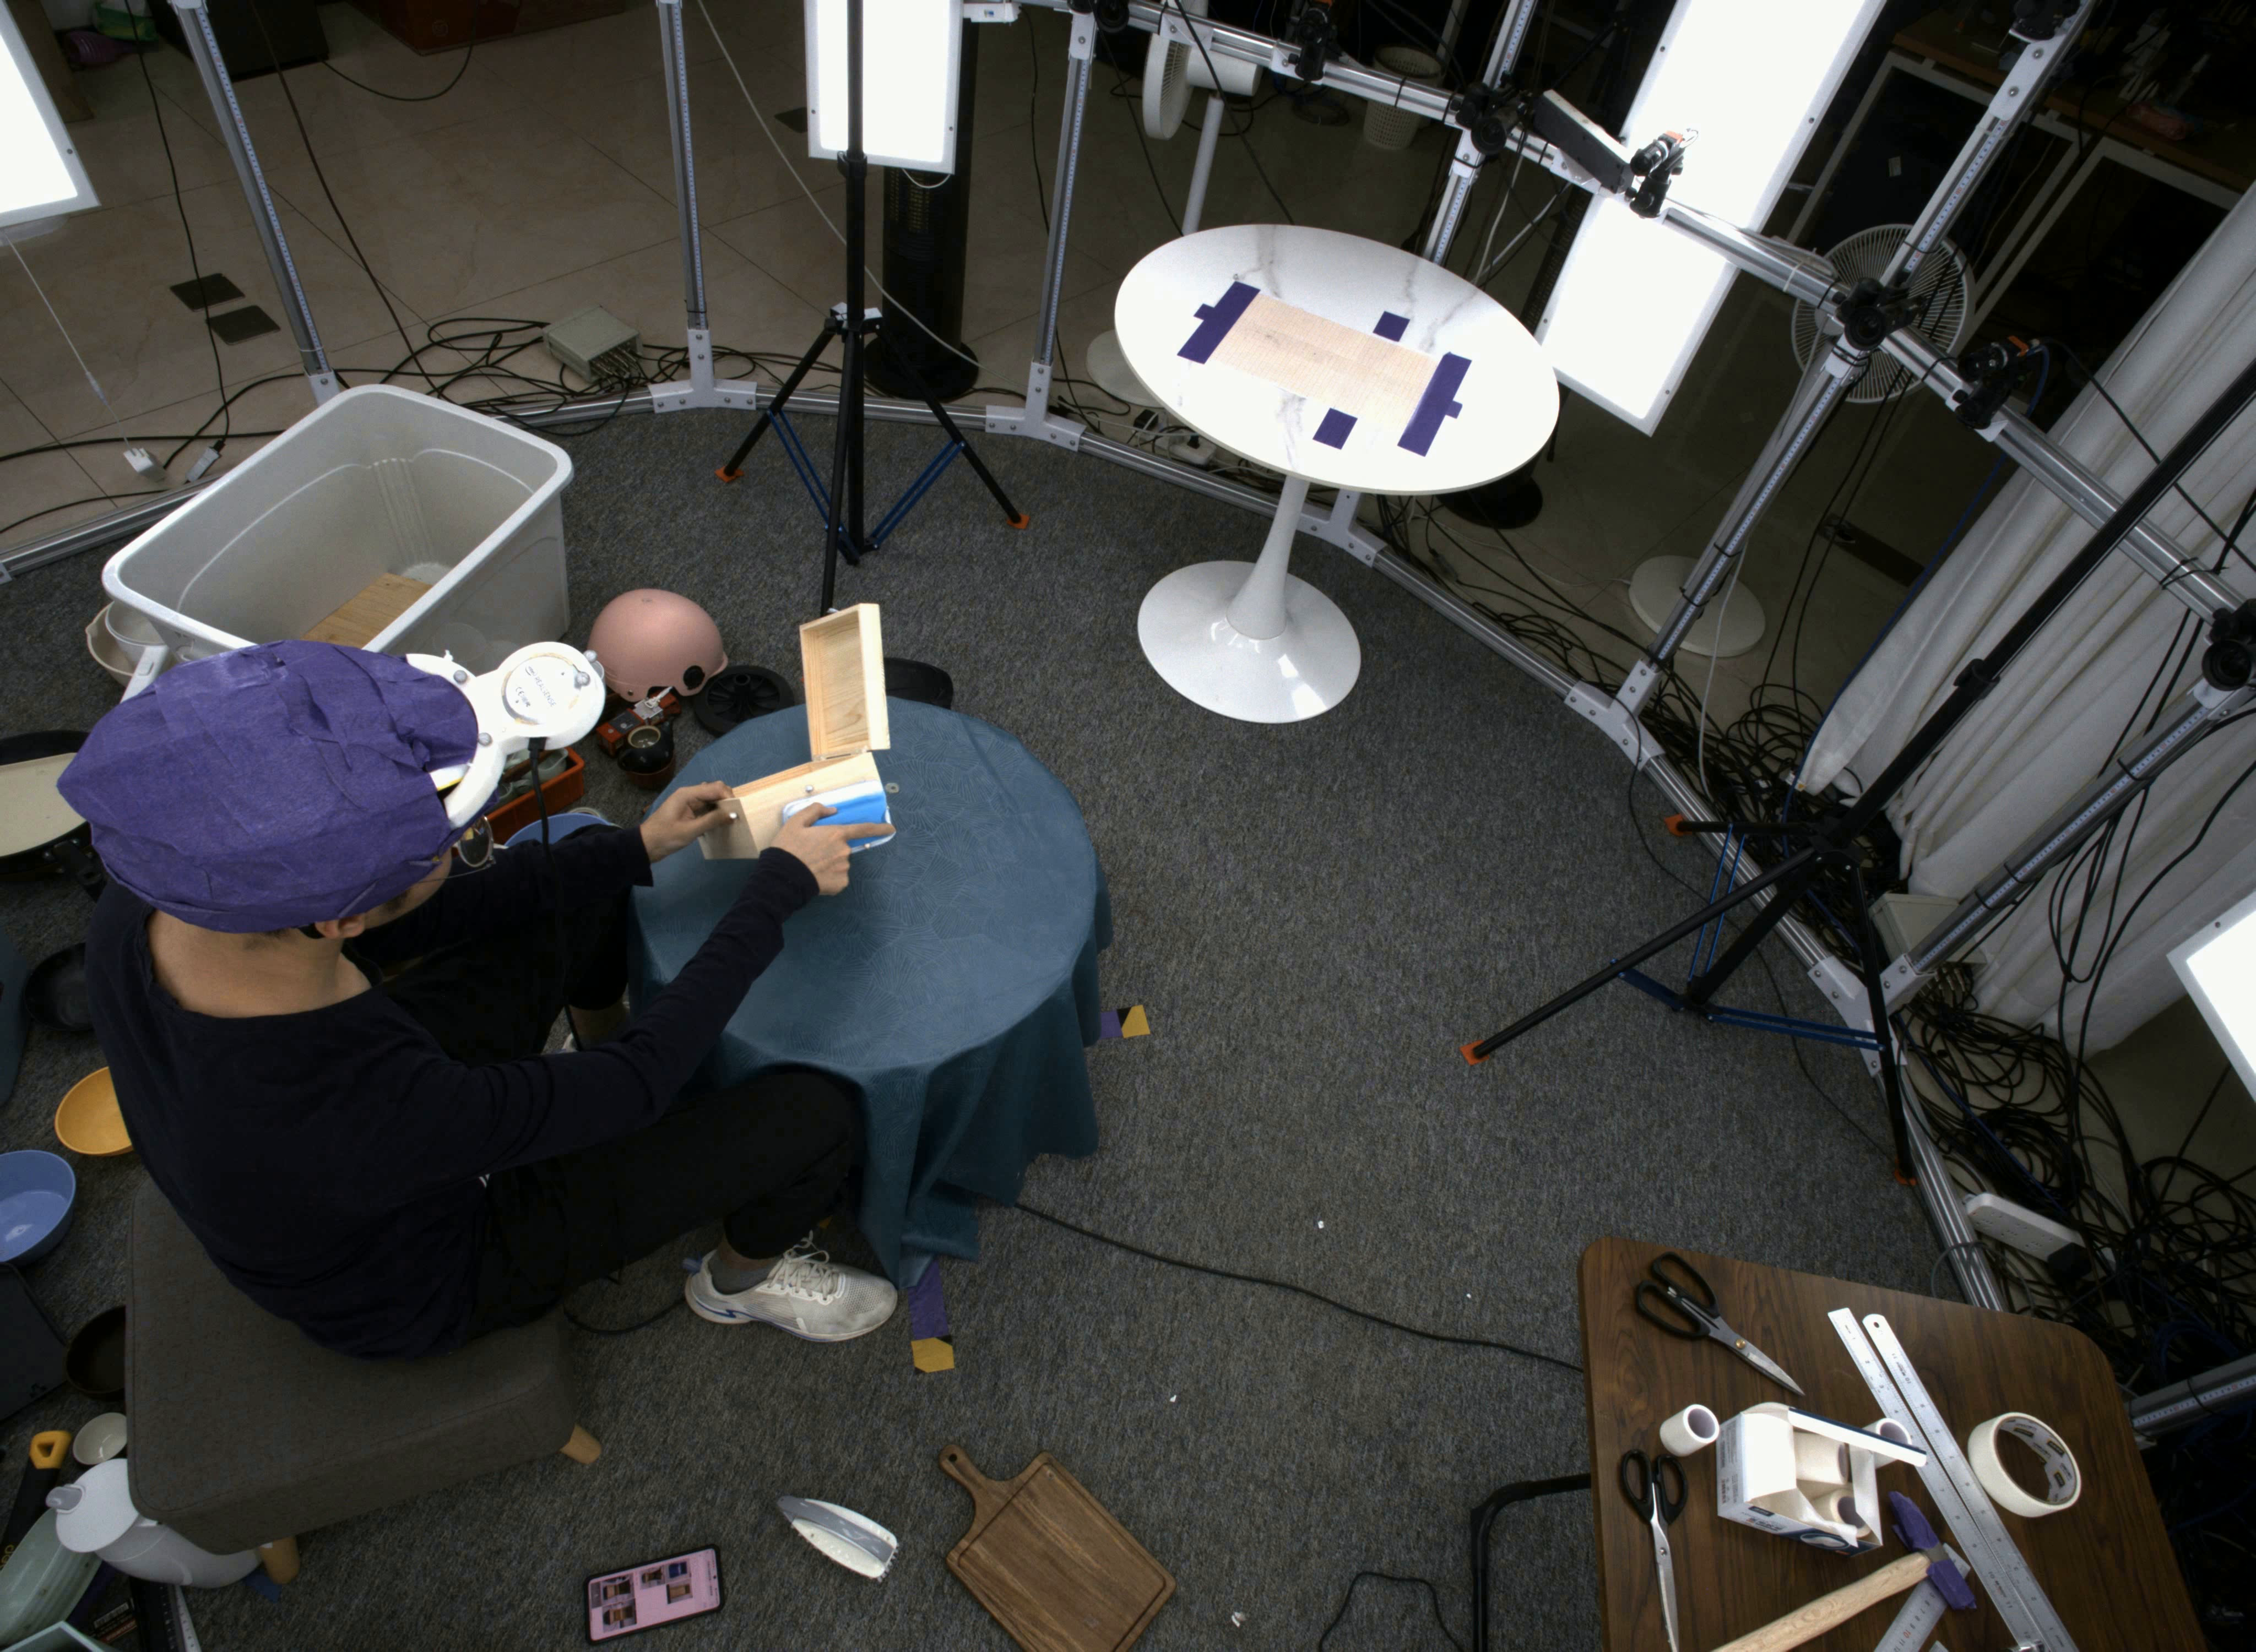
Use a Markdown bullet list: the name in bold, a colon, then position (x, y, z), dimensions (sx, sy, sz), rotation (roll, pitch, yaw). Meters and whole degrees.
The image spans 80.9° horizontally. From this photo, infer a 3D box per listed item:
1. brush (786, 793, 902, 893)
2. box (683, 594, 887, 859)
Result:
- **brush**: position (-0.333, 0.015, 1.550), dimensions (0.145, 0.054, 0.086), rotation (-30, 105, -38)
- **box**: position (-0.426, -0.123, 1.608), dimensions (0.267, 0.176, 0.259), rotation (-26, 107, -37)
